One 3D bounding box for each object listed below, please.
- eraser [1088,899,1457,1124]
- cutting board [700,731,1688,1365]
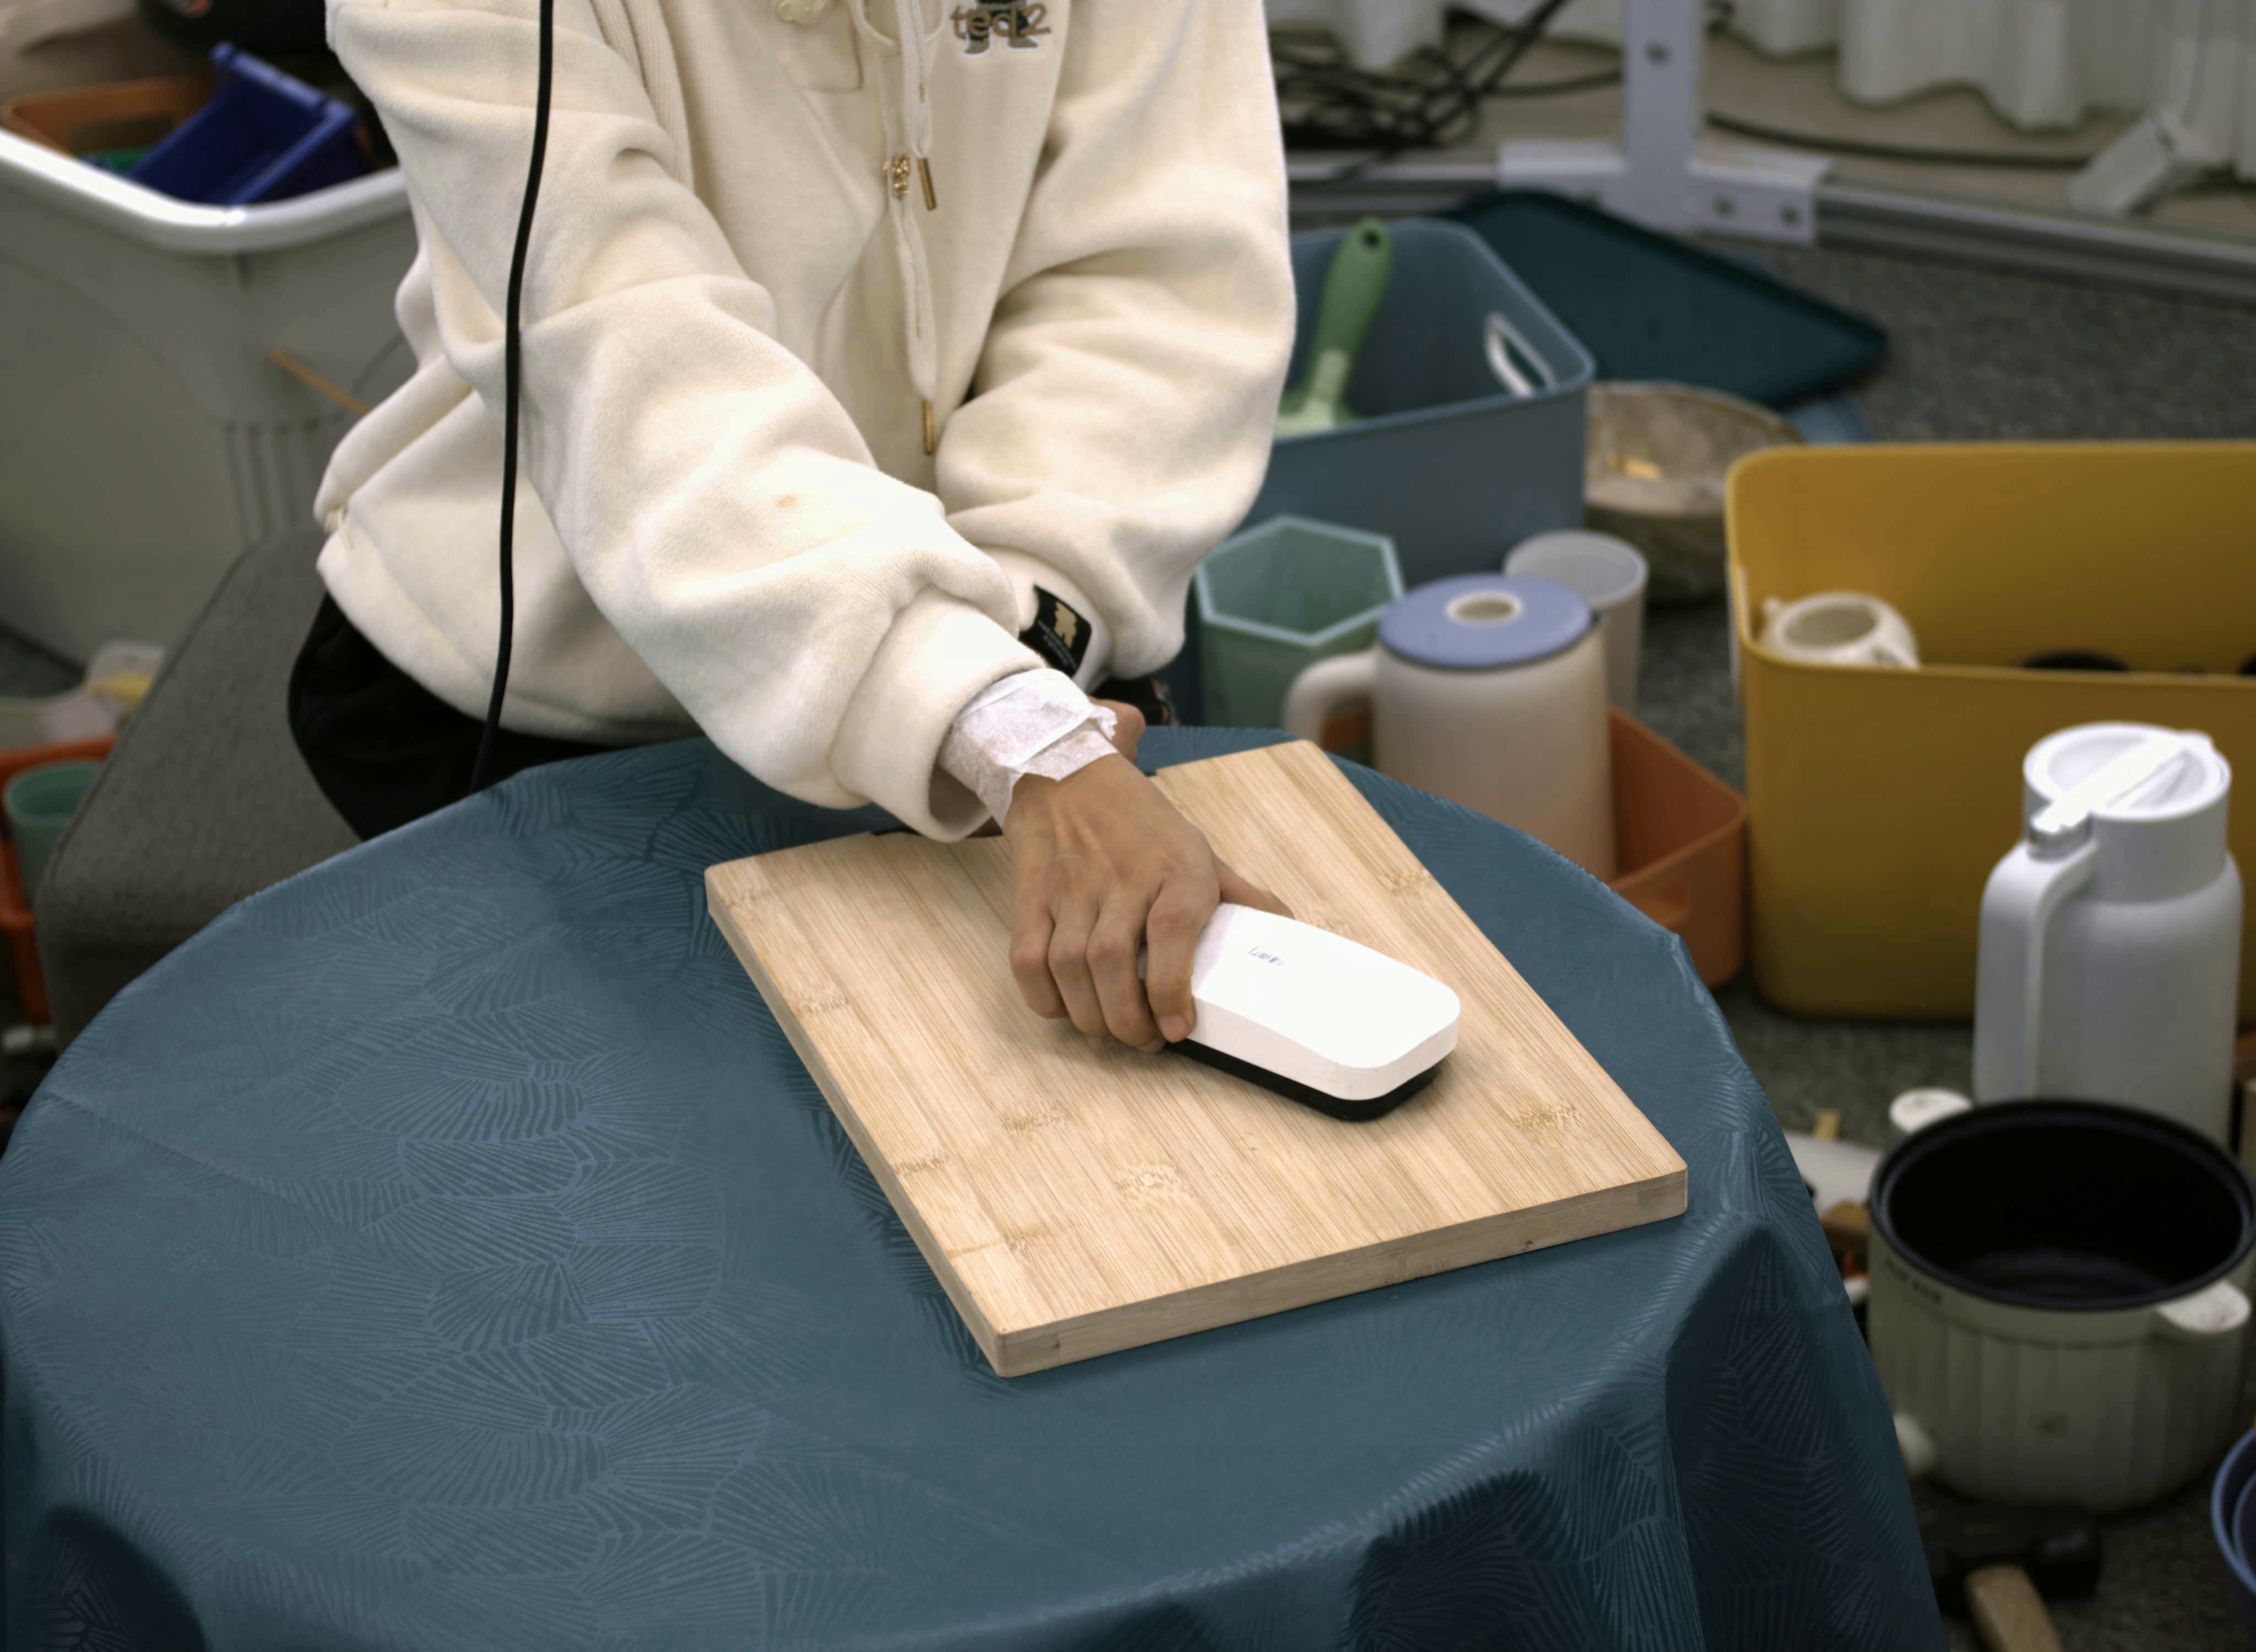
[{"bbox_3d":[0.049,0.059,1.906,0.131,0.034,0.064,22,36,38],"label":"eraser"},{"bbox_3d":[0.013,0.069,1.944,0.251,0.023,0.351,-12,29,-17],"label":"cutting board"}]
